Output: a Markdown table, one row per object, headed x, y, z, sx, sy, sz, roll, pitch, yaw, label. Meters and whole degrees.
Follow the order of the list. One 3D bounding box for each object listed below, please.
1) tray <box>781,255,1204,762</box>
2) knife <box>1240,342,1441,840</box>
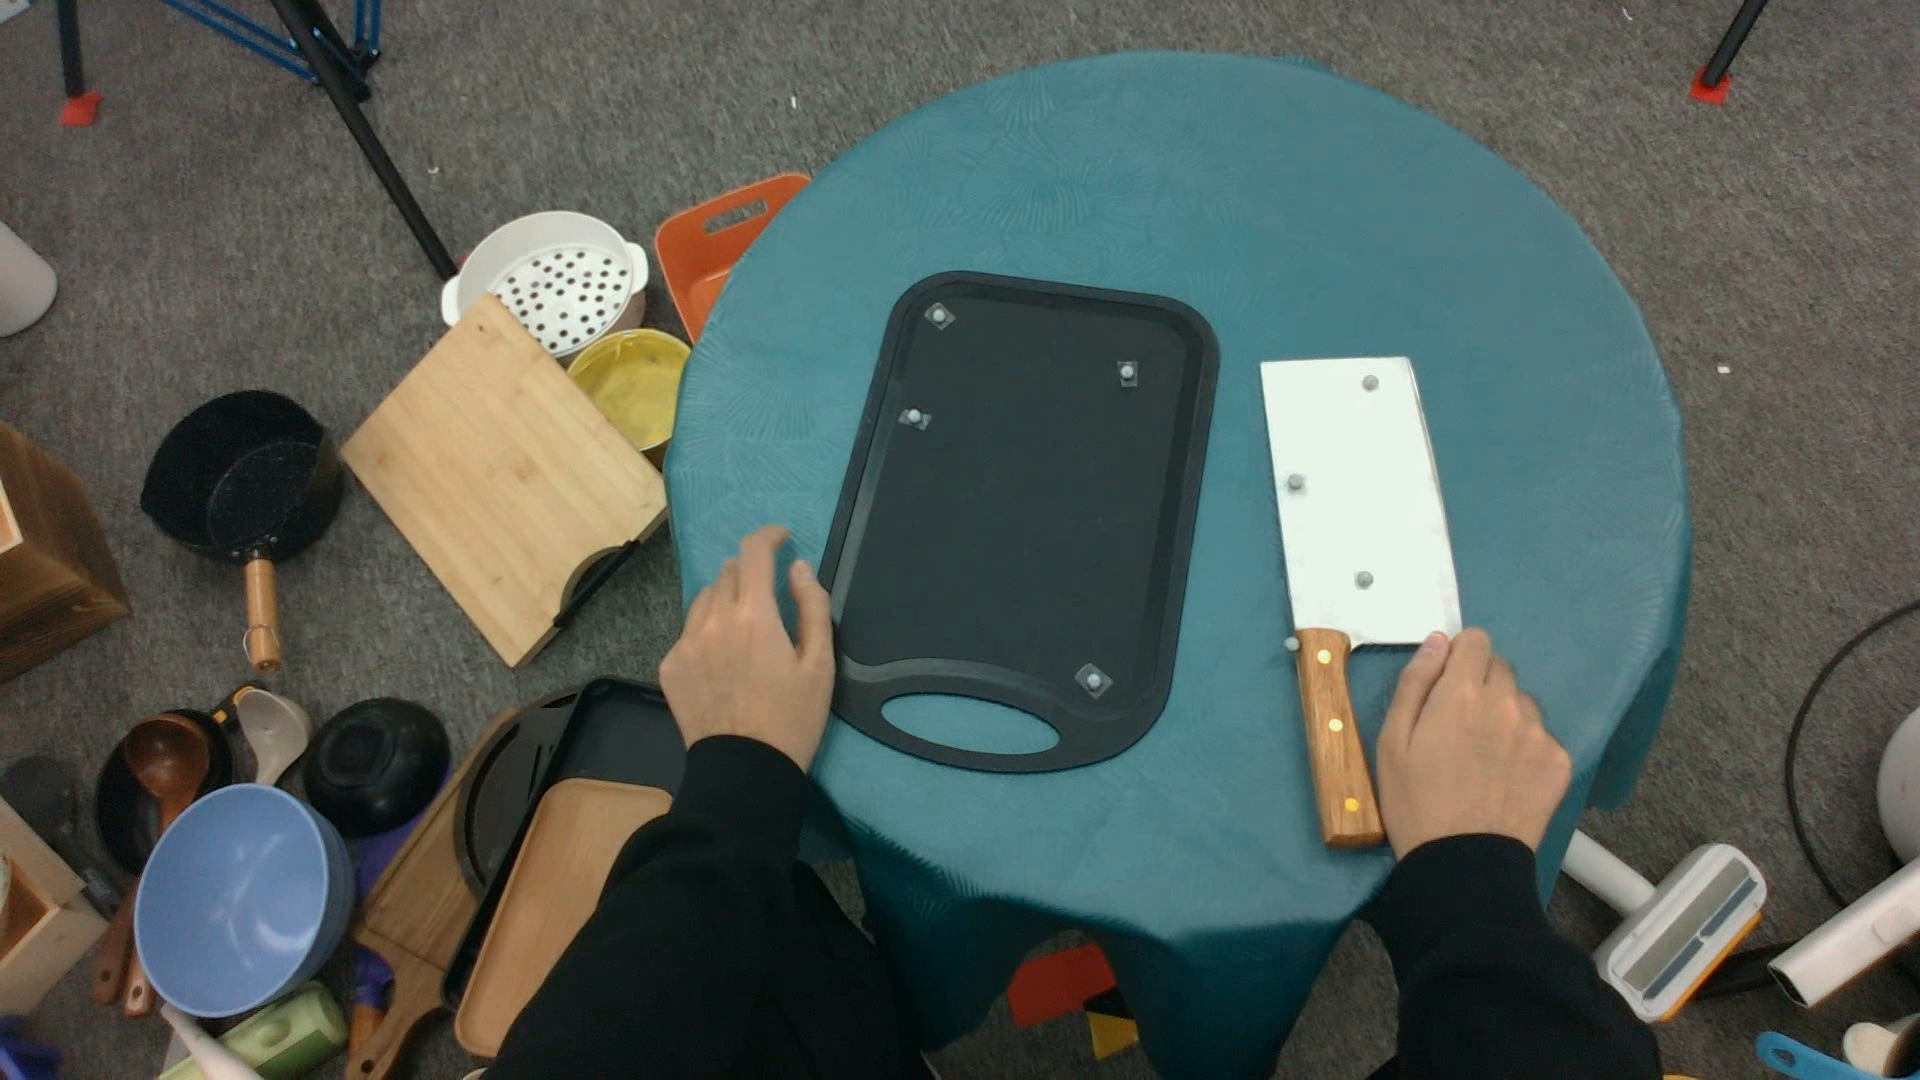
| x | y | z | sx | sy | sz | roll | pitch | yaw | label |
| --- | --- | --- | --- | --- | --- | --- | --- | --- | --- |
| 0.023 | -0.029 | 0.804 | 0.211 | 0.010 | 0.326 | 9 | 65 | 8 | tray |
| 0.216 | 0.015 | 0.766 | 0.093 | 0.021 | 0.307 | -1 | 62 | 1 | knife |
